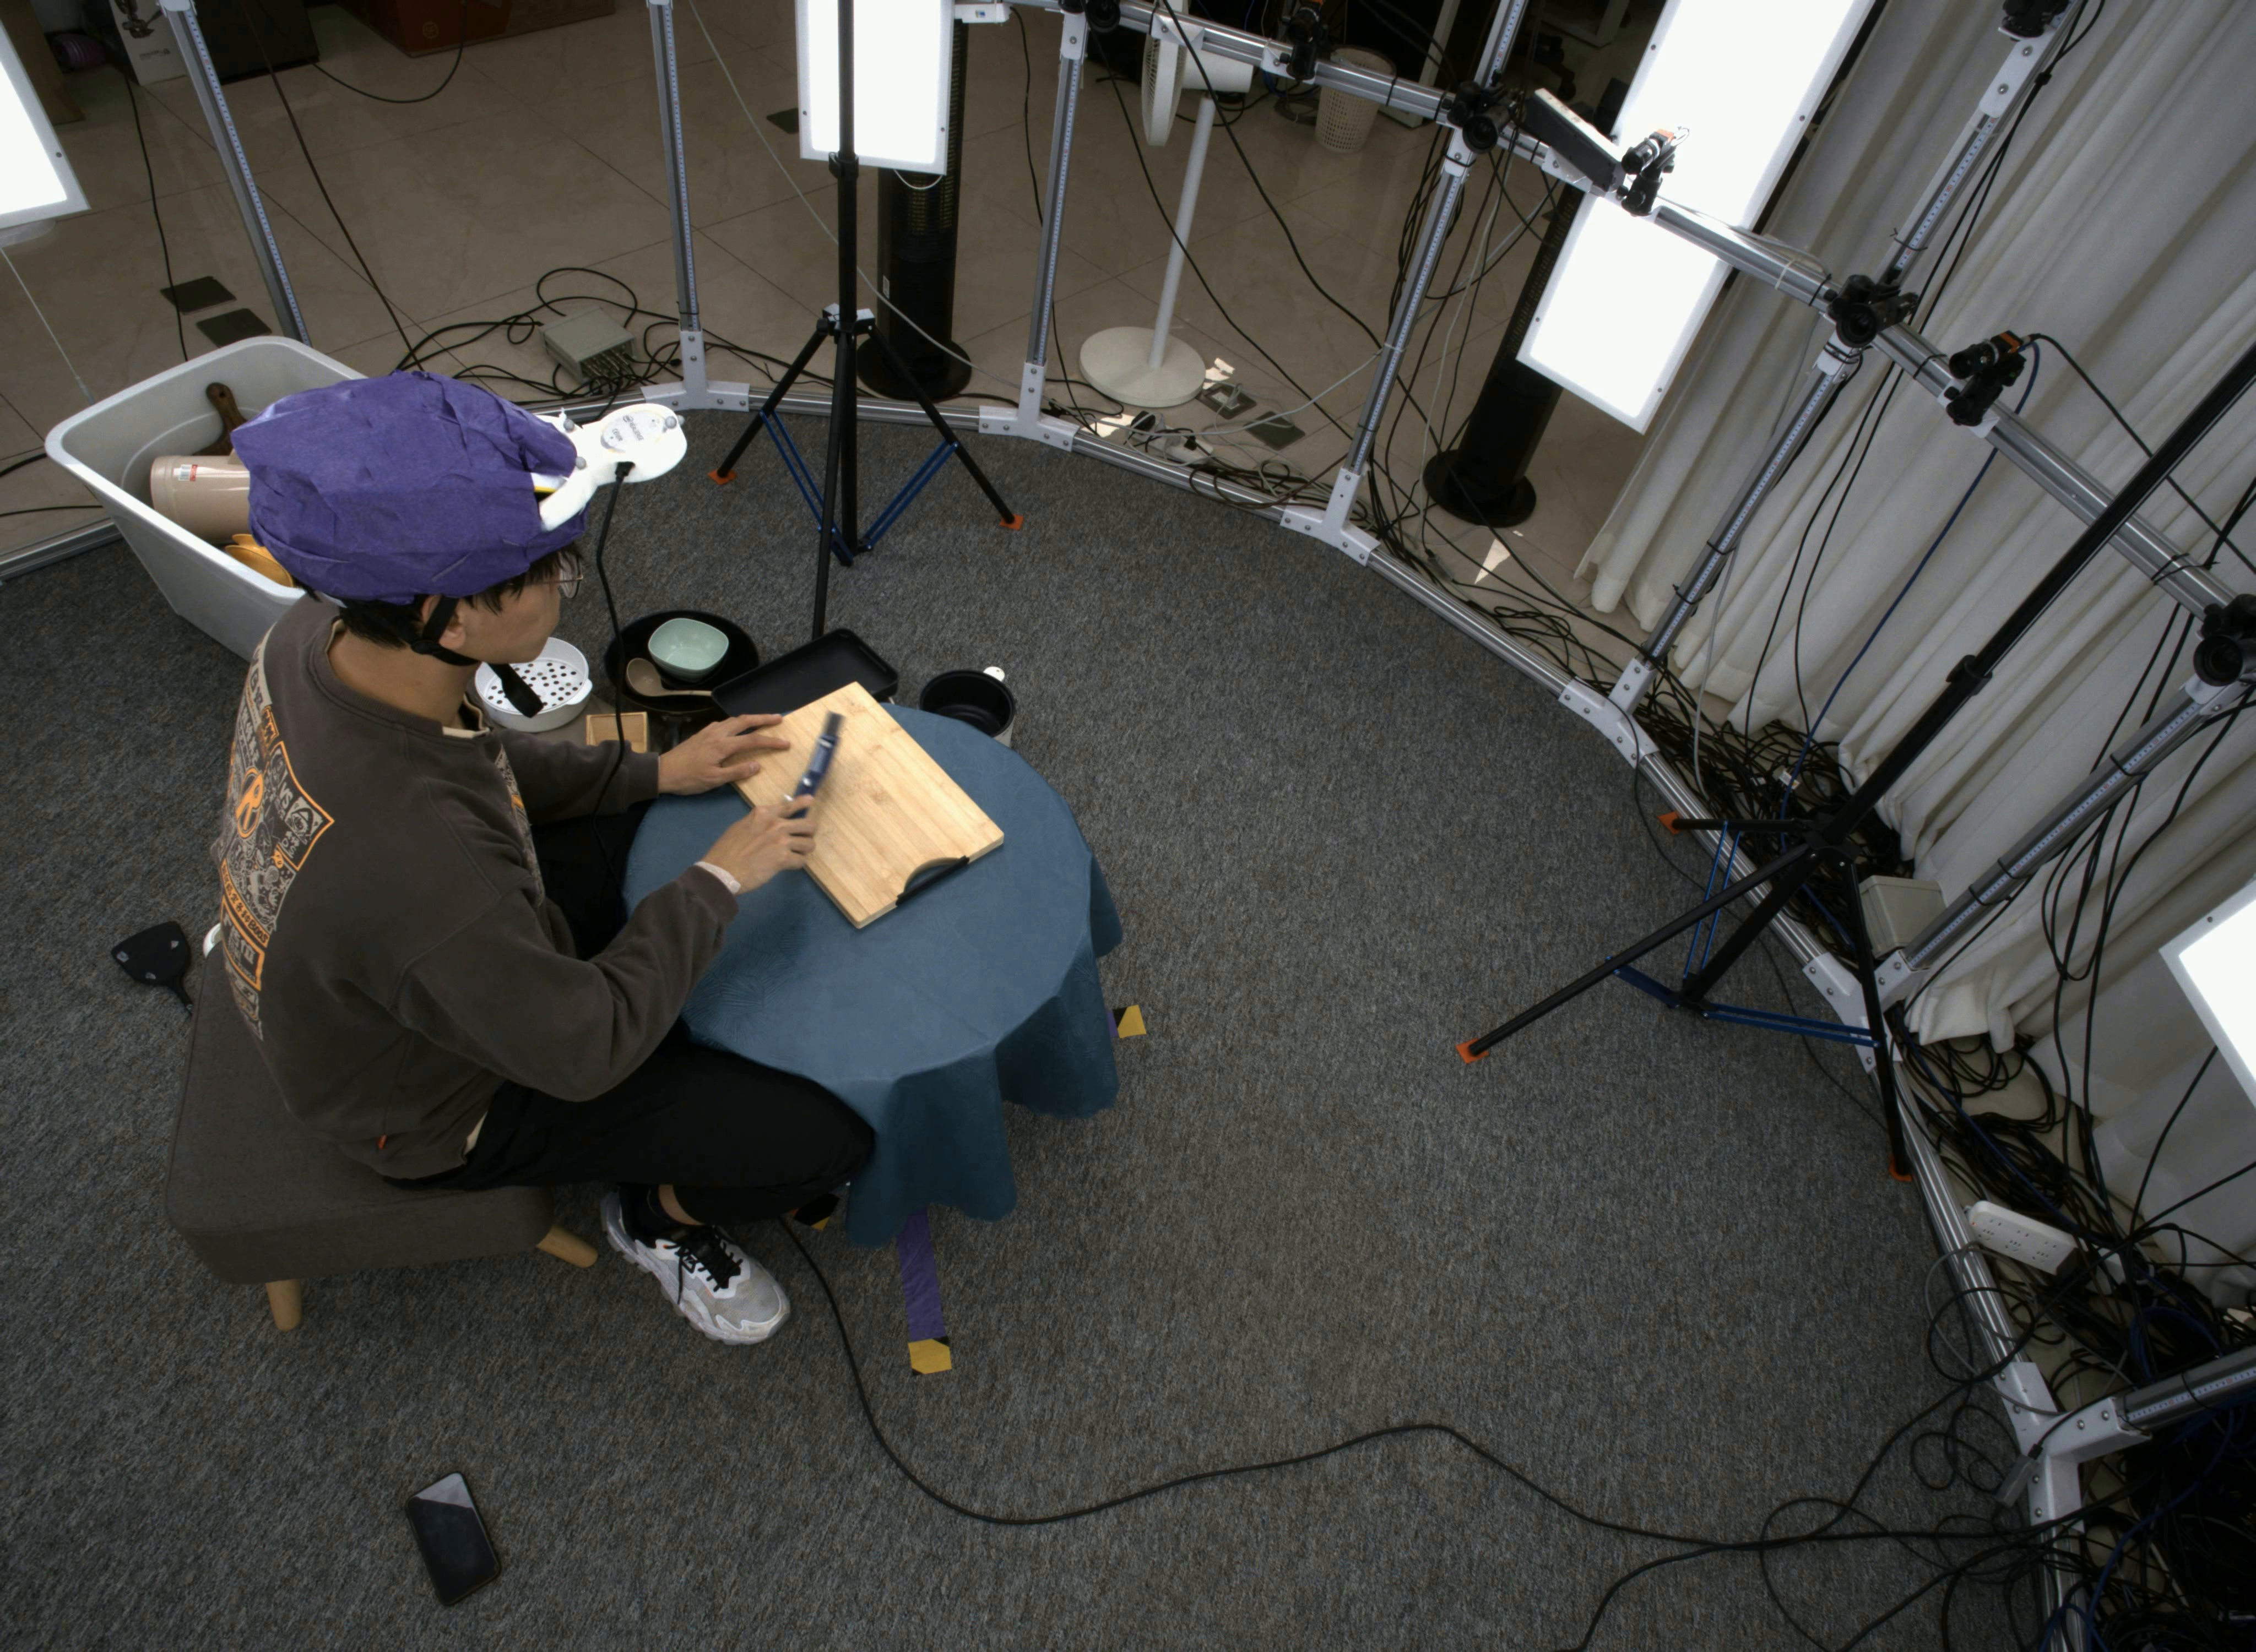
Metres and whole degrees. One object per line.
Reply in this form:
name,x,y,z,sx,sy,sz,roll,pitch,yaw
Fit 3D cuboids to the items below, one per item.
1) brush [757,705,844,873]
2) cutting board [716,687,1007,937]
brush,-0.413,-0.050,1.647,0.033,0.097,0.268,18,34,-9
cutting board,-0.363,-0.033,1.767,0.251,0.024,0.340,-35,68,-31
